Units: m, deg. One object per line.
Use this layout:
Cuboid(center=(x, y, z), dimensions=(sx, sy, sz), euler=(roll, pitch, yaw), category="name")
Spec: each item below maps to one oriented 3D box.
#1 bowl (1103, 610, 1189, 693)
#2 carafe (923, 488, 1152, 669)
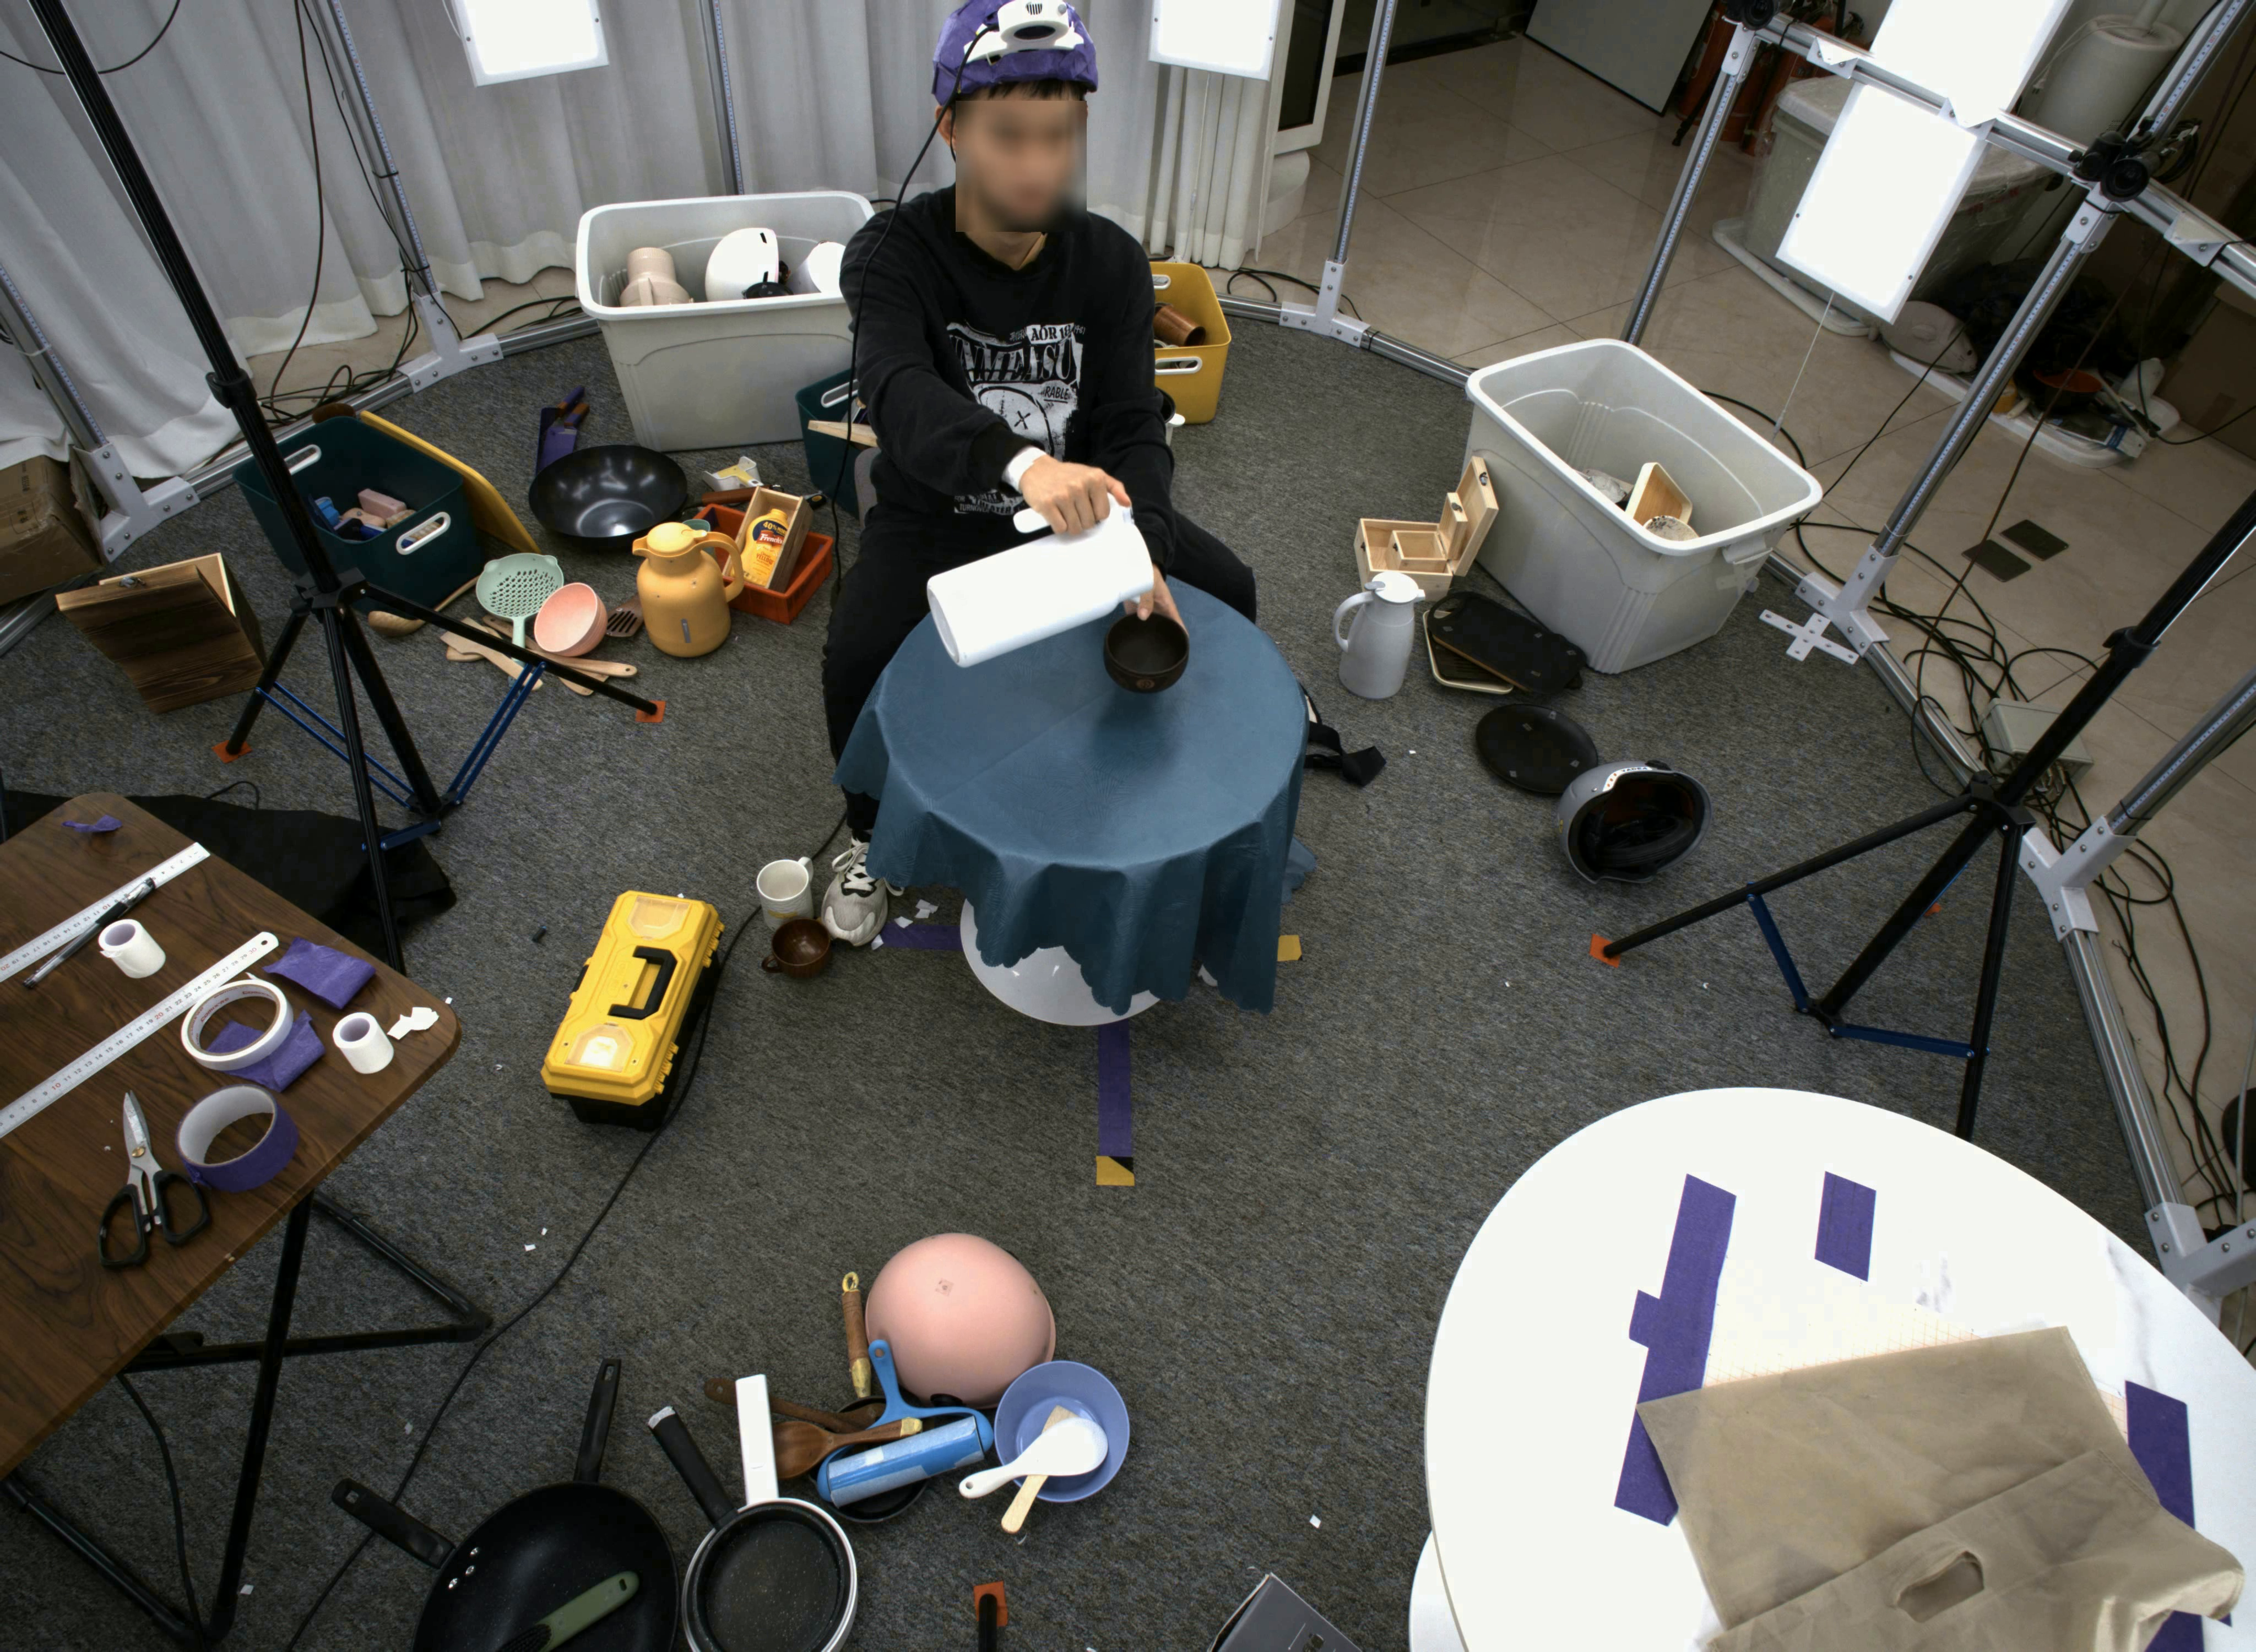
Cuboid(center=(0.024, -0.230, 1.754), dimensions=(0.118, 0.068, 0.121), euler=(1, 54, -2), category="bowl")
Cuboid(center=(-0.112, -0.303, 1.579), dimensions=(0.269, 0.168, 0.127), euler=(-21, 44, -12), category="carafe")
